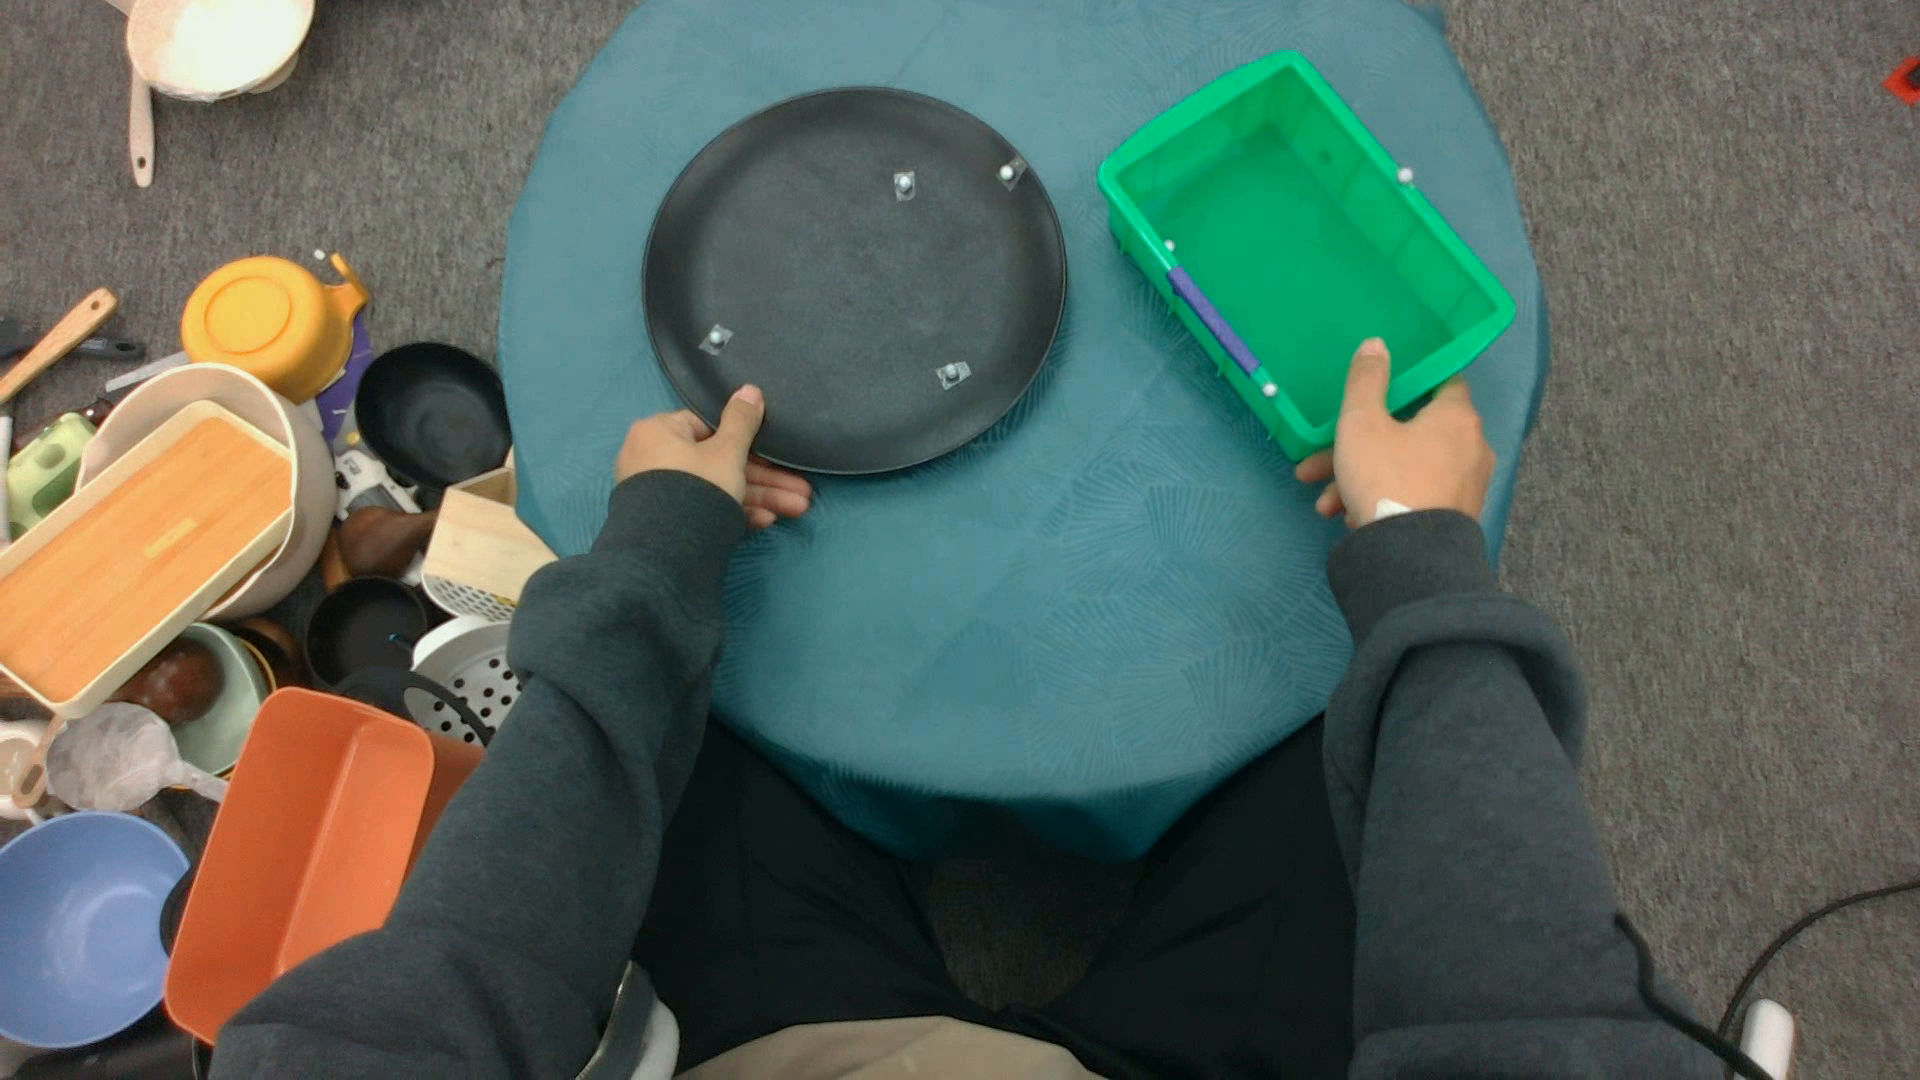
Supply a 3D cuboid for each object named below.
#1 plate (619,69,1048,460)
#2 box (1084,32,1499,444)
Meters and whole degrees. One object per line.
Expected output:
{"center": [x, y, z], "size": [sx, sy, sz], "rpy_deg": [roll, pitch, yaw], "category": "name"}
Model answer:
{"center": [-0.071, -0.158, 0.788], "size": [0.244, 0.023, 0.245], "rpy_deg": [0, 74, 0], "category": "plate"}
{"center": [0.177, -0.162, 0.764], "size": [0.139, 0.065, 0.210], "rpy_deg": [-35, 79, -6], "category": "box"}
